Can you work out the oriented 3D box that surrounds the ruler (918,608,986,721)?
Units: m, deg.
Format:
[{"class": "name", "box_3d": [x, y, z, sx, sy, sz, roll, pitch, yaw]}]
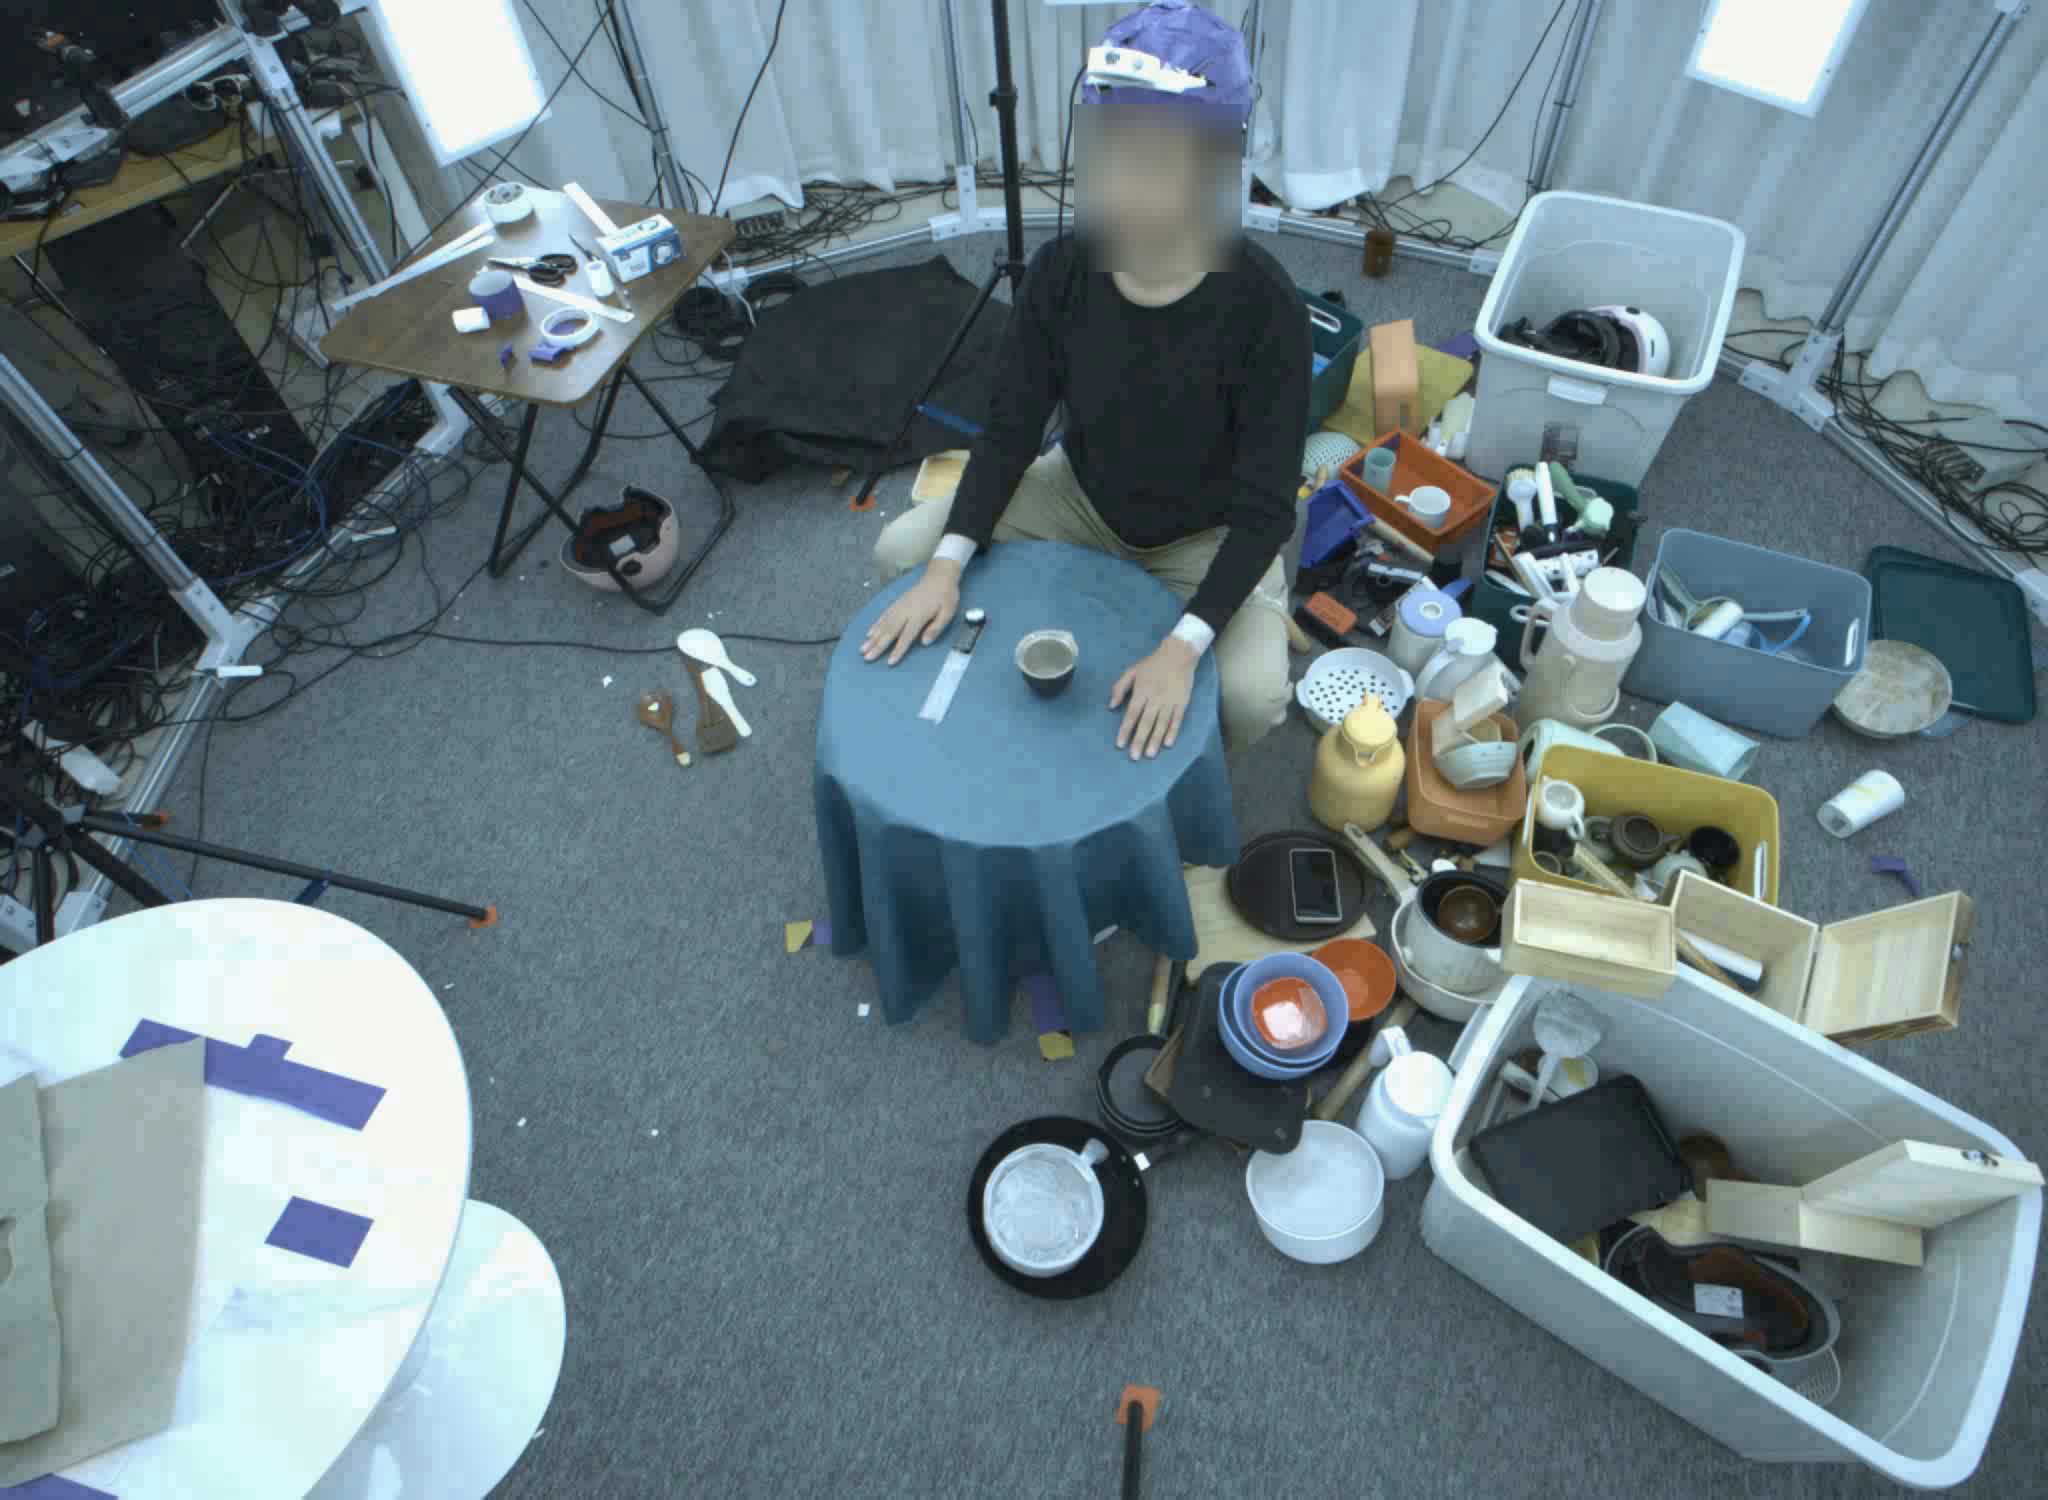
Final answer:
[{"class": "ruler", "box_3d": [-0.108, -0.134, 1.873, 0.038, 0.024, 0.218, 11, 54, 18]}]

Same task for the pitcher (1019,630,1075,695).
[{"class": "pitcher", "box_3d": [0.039, -0.125, 1.830, 0.082, 0.072, 0.096, 33, 63, 24]}]
